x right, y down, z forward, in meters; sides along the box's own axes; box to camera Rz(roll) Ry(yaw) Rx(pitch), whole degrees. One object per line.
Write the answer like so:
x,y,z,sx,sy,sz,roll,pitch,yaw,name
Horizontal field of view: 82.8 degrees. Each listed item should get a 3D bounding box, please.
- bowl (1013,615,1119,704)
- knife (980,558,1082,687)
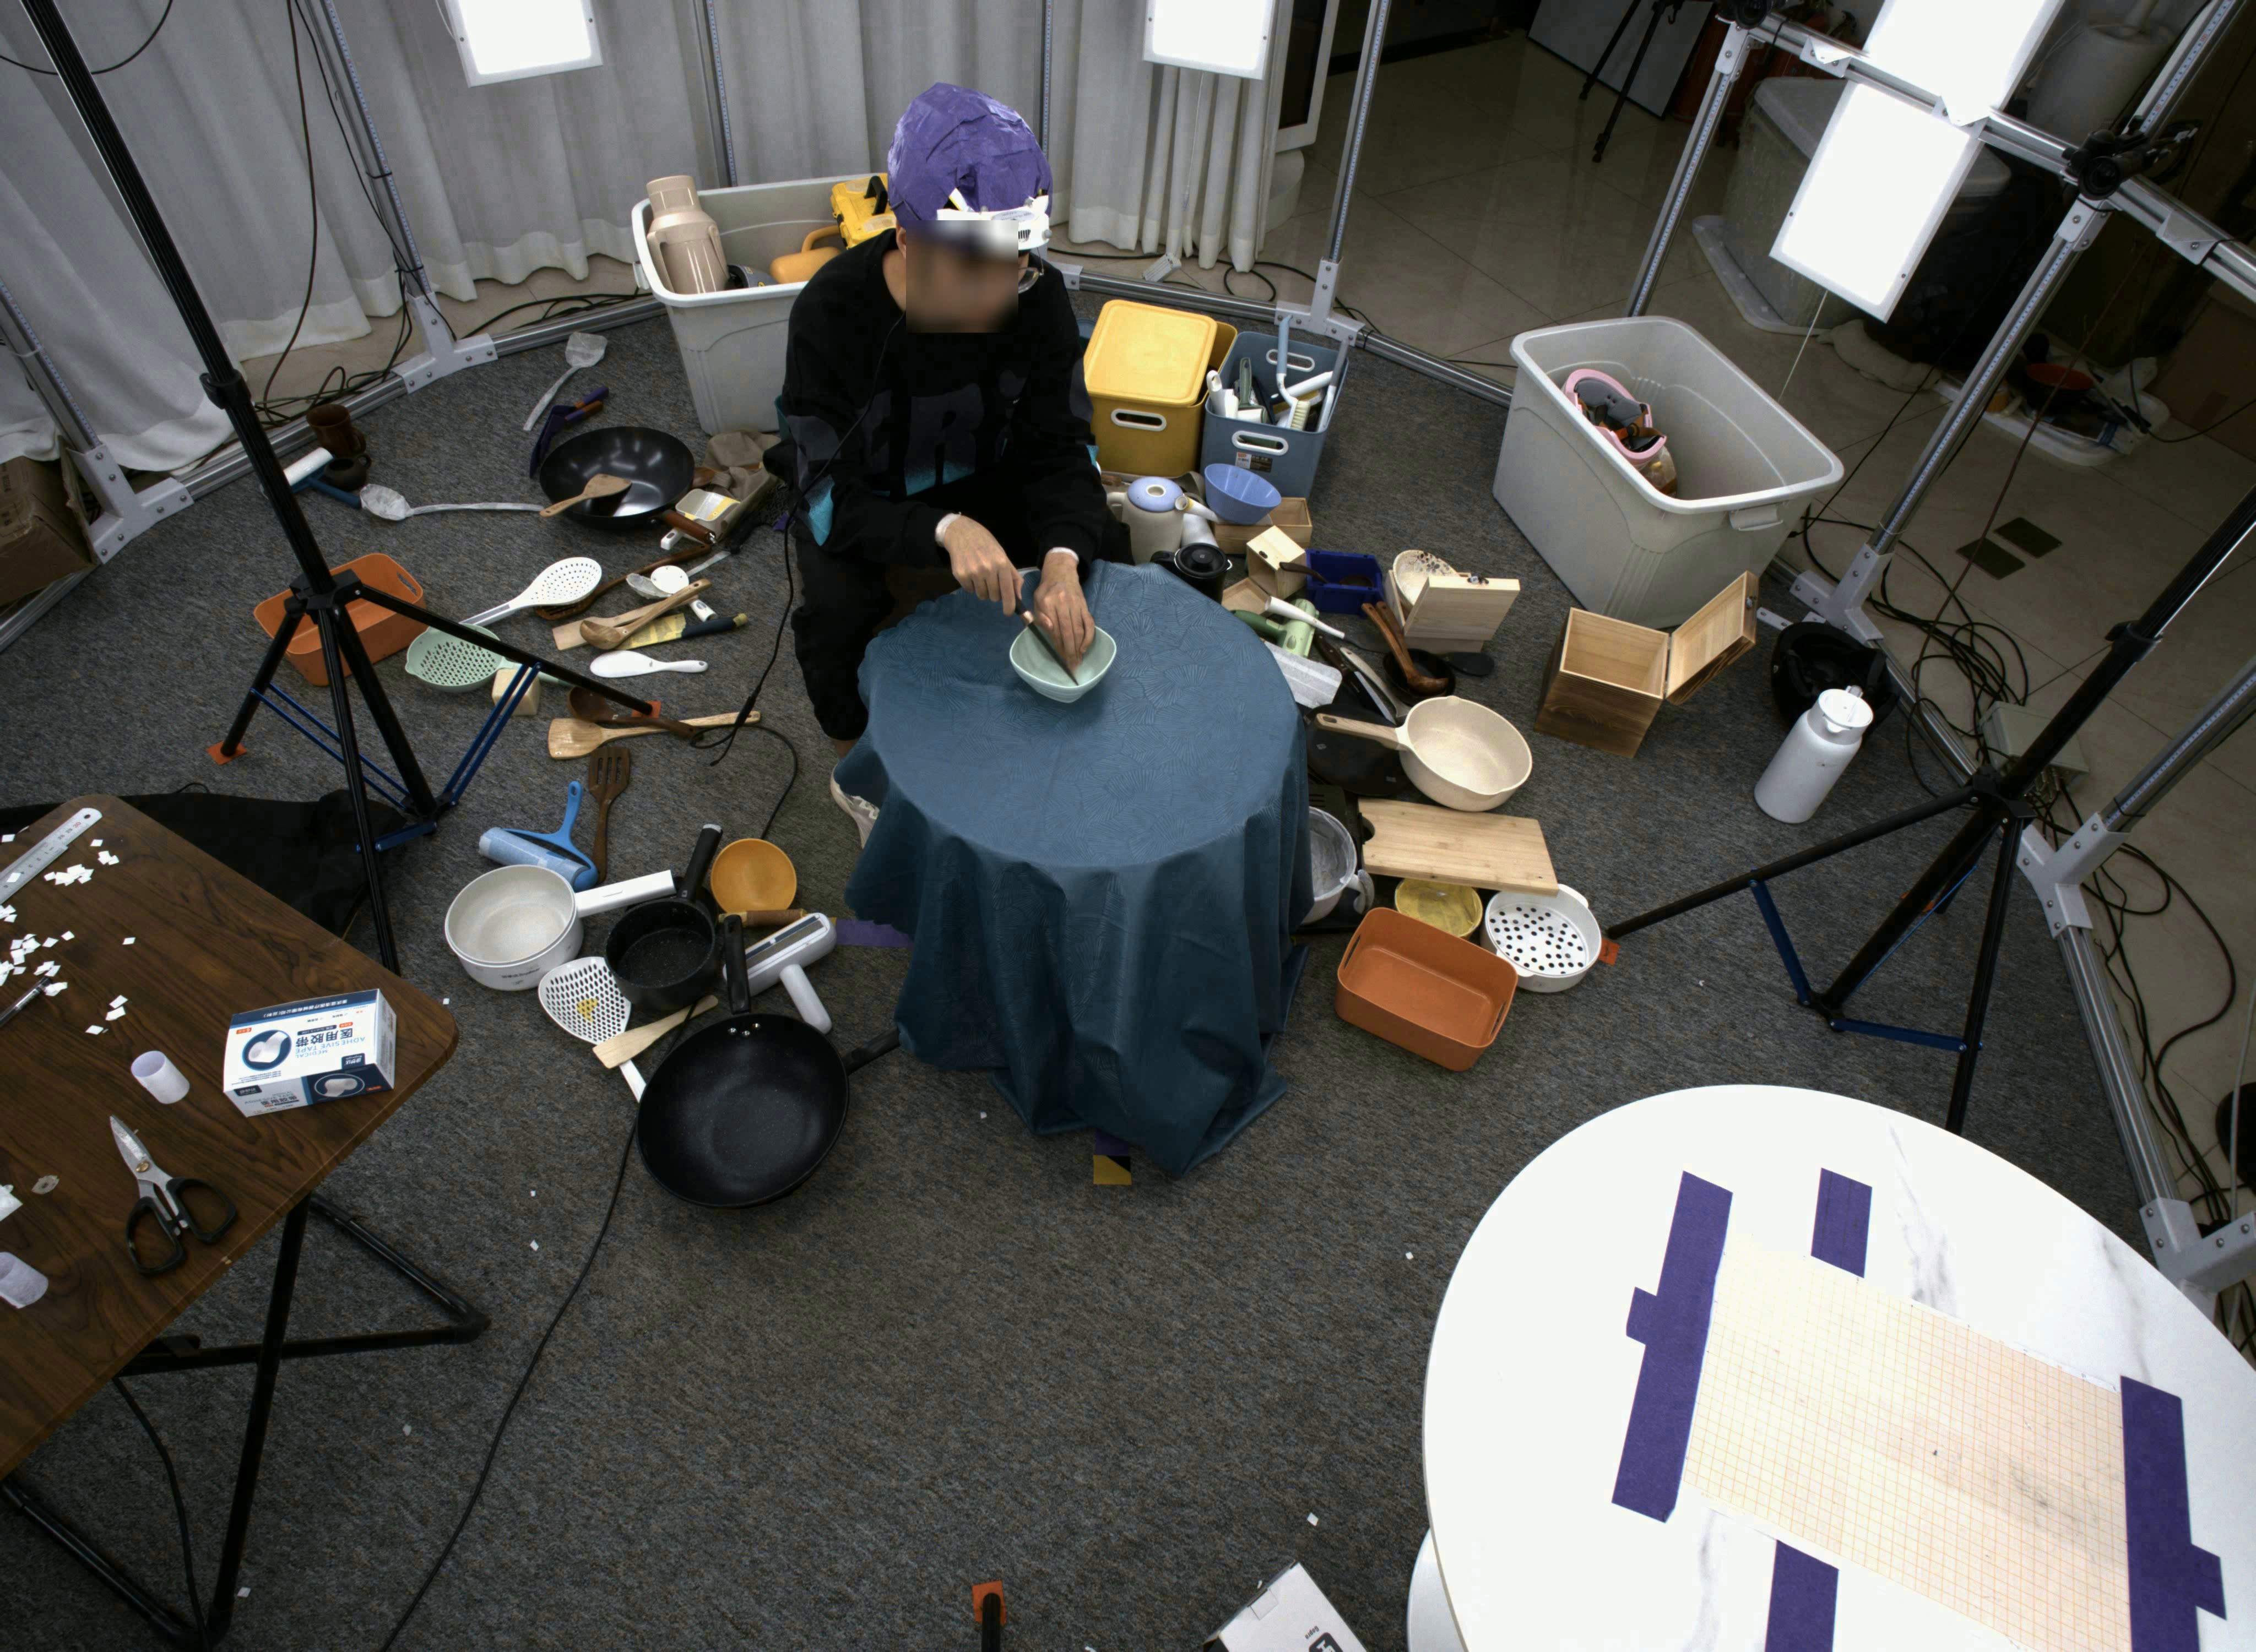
-0.088,-0.228,1.826,0.151,0.057,0.155,1,50,-2,bowl
-0.133,-0.283,1.808,0.017,0.026,0.224,-41,95,-26,knife
